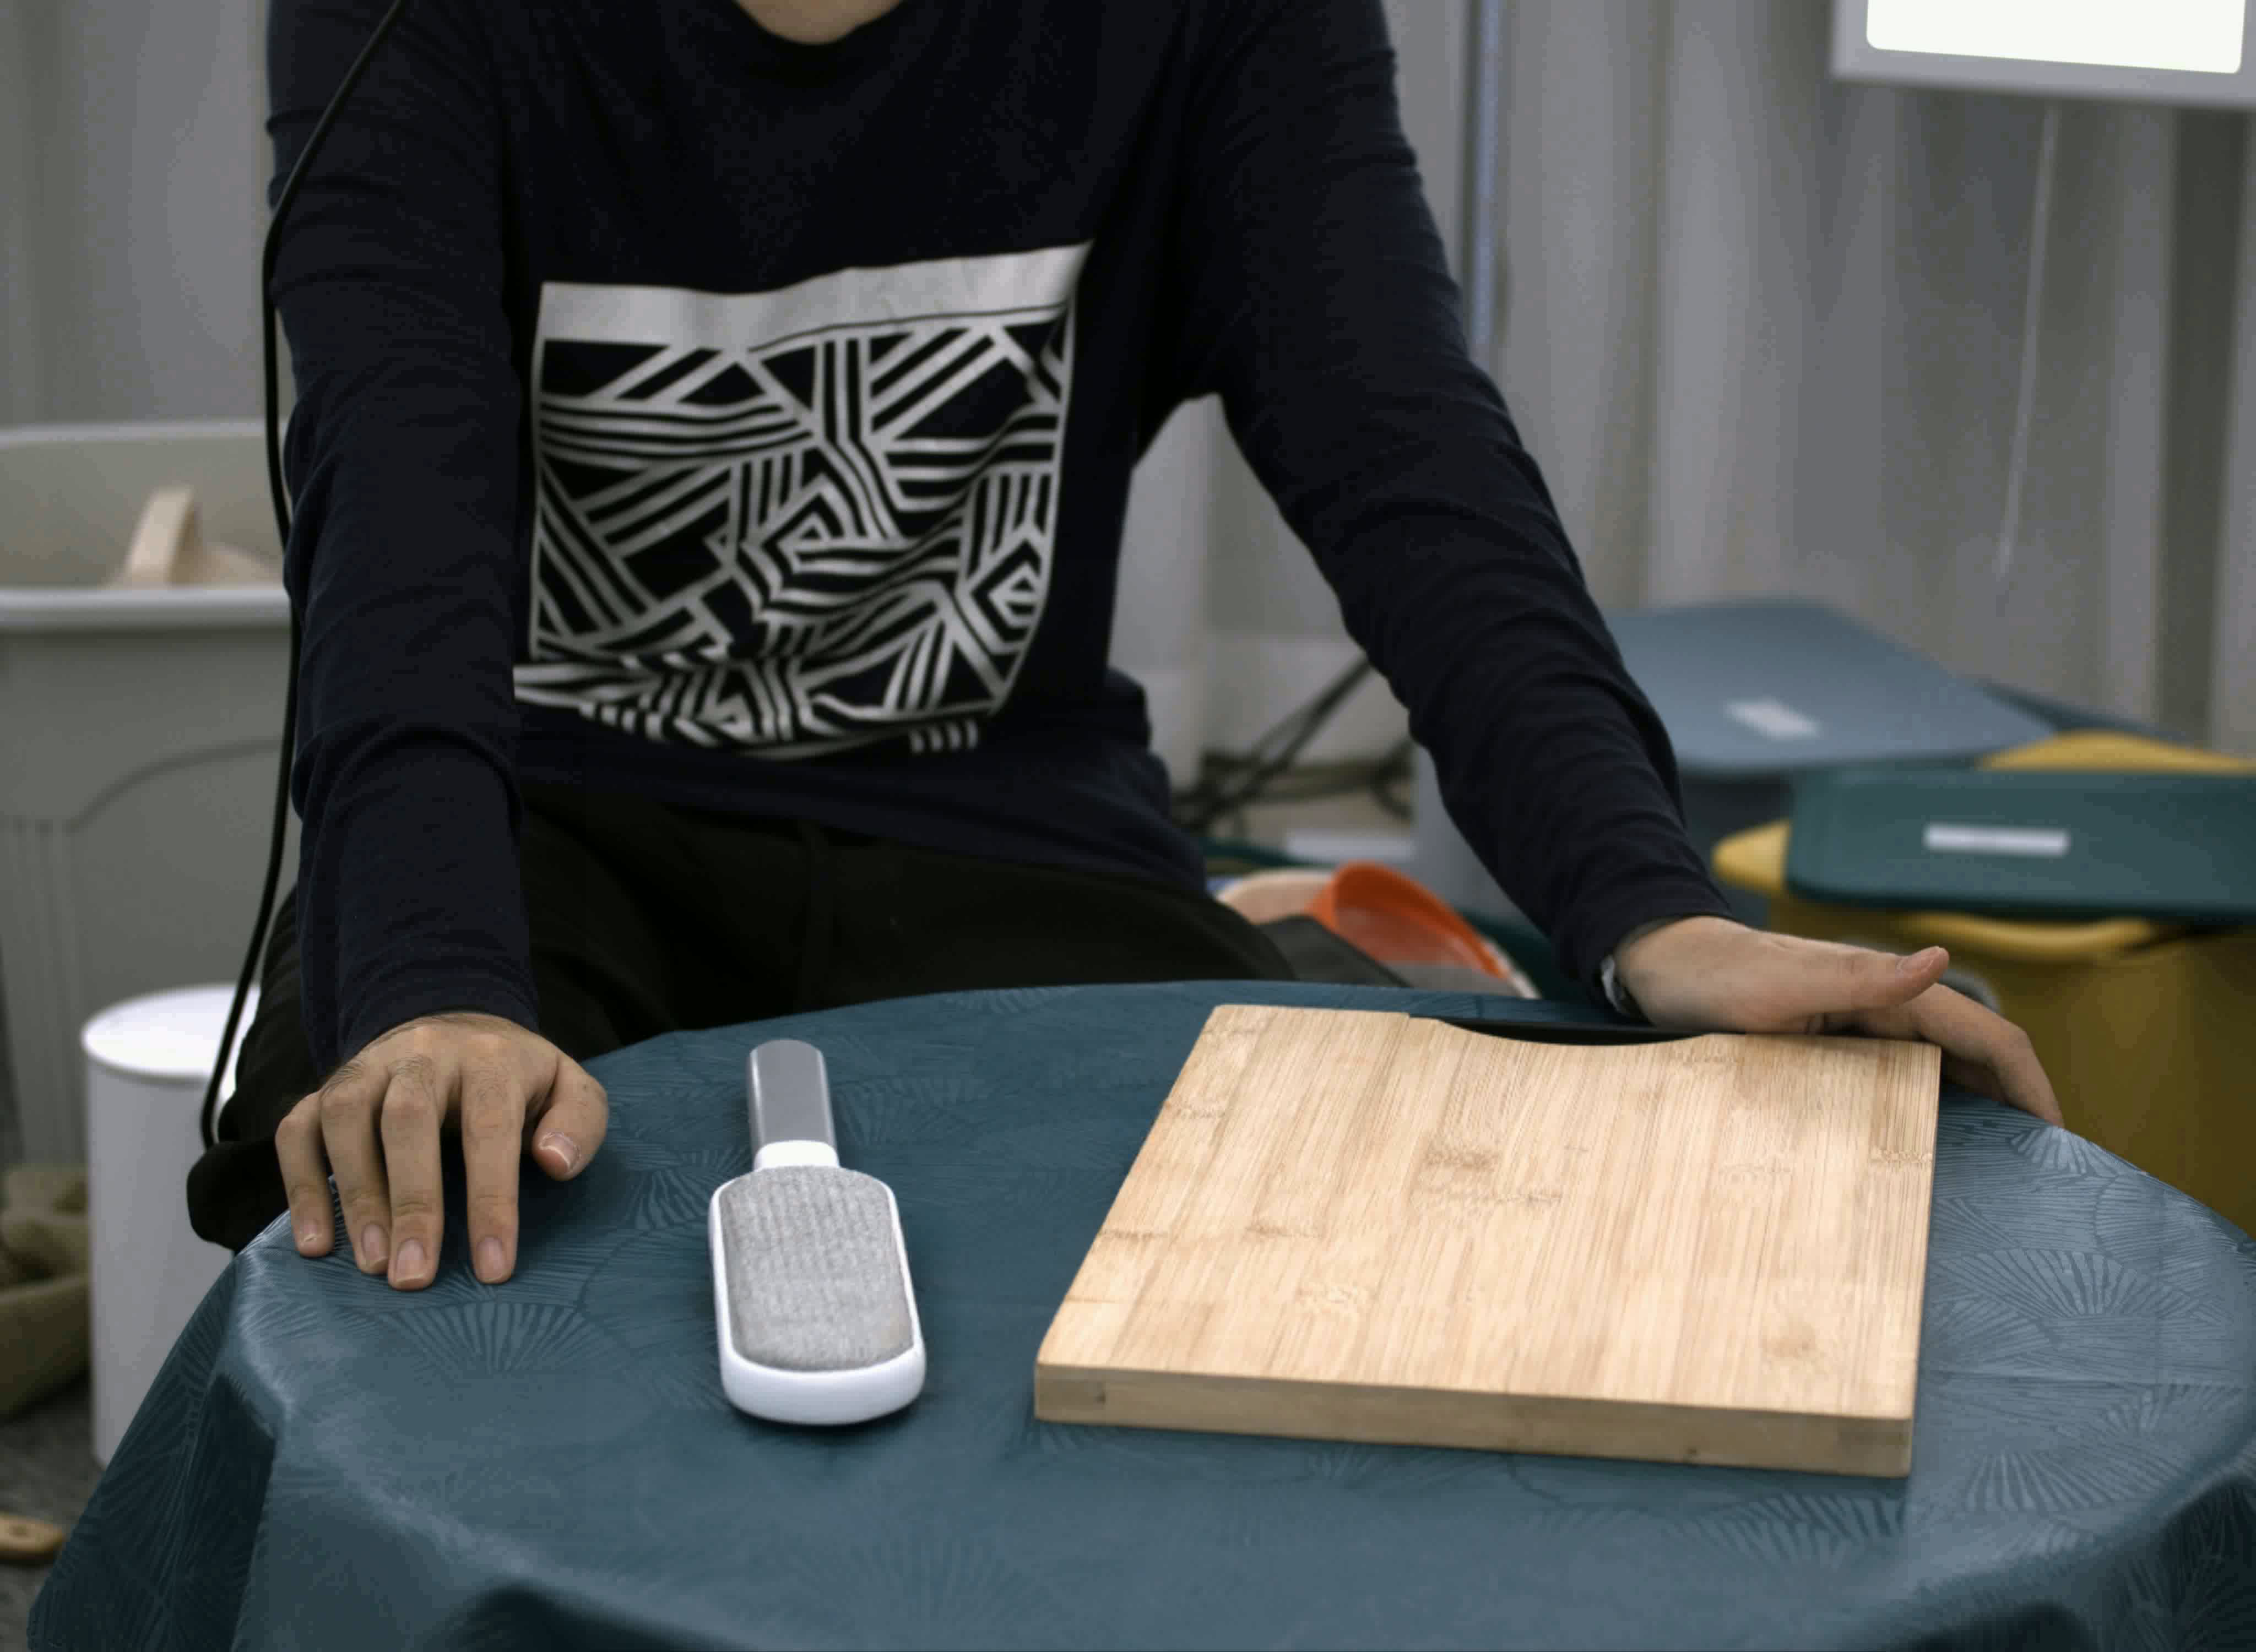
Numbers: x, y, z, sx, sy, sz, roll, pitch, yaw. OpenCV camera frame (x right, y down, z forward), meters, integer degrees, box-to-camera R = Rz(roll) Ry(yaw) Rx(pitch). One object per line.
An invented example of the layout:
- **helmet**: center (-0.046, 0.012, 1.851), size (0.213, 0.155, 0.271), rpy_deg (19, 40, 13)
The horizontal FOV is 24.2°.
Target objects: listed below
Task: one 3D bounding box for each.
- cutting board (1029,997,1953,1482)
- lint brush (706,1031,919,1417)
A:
- **cutting board**: center (0.121, 0.116, 1.586), size (0.249, 0.024, 0.348), rpy_deg (3, 16, 8)
- **lint brush**: center (-0.096, 0.114, 1.566), size (0.060, 0.021, 0.307), rpy_deg (-6, 16, -4)
